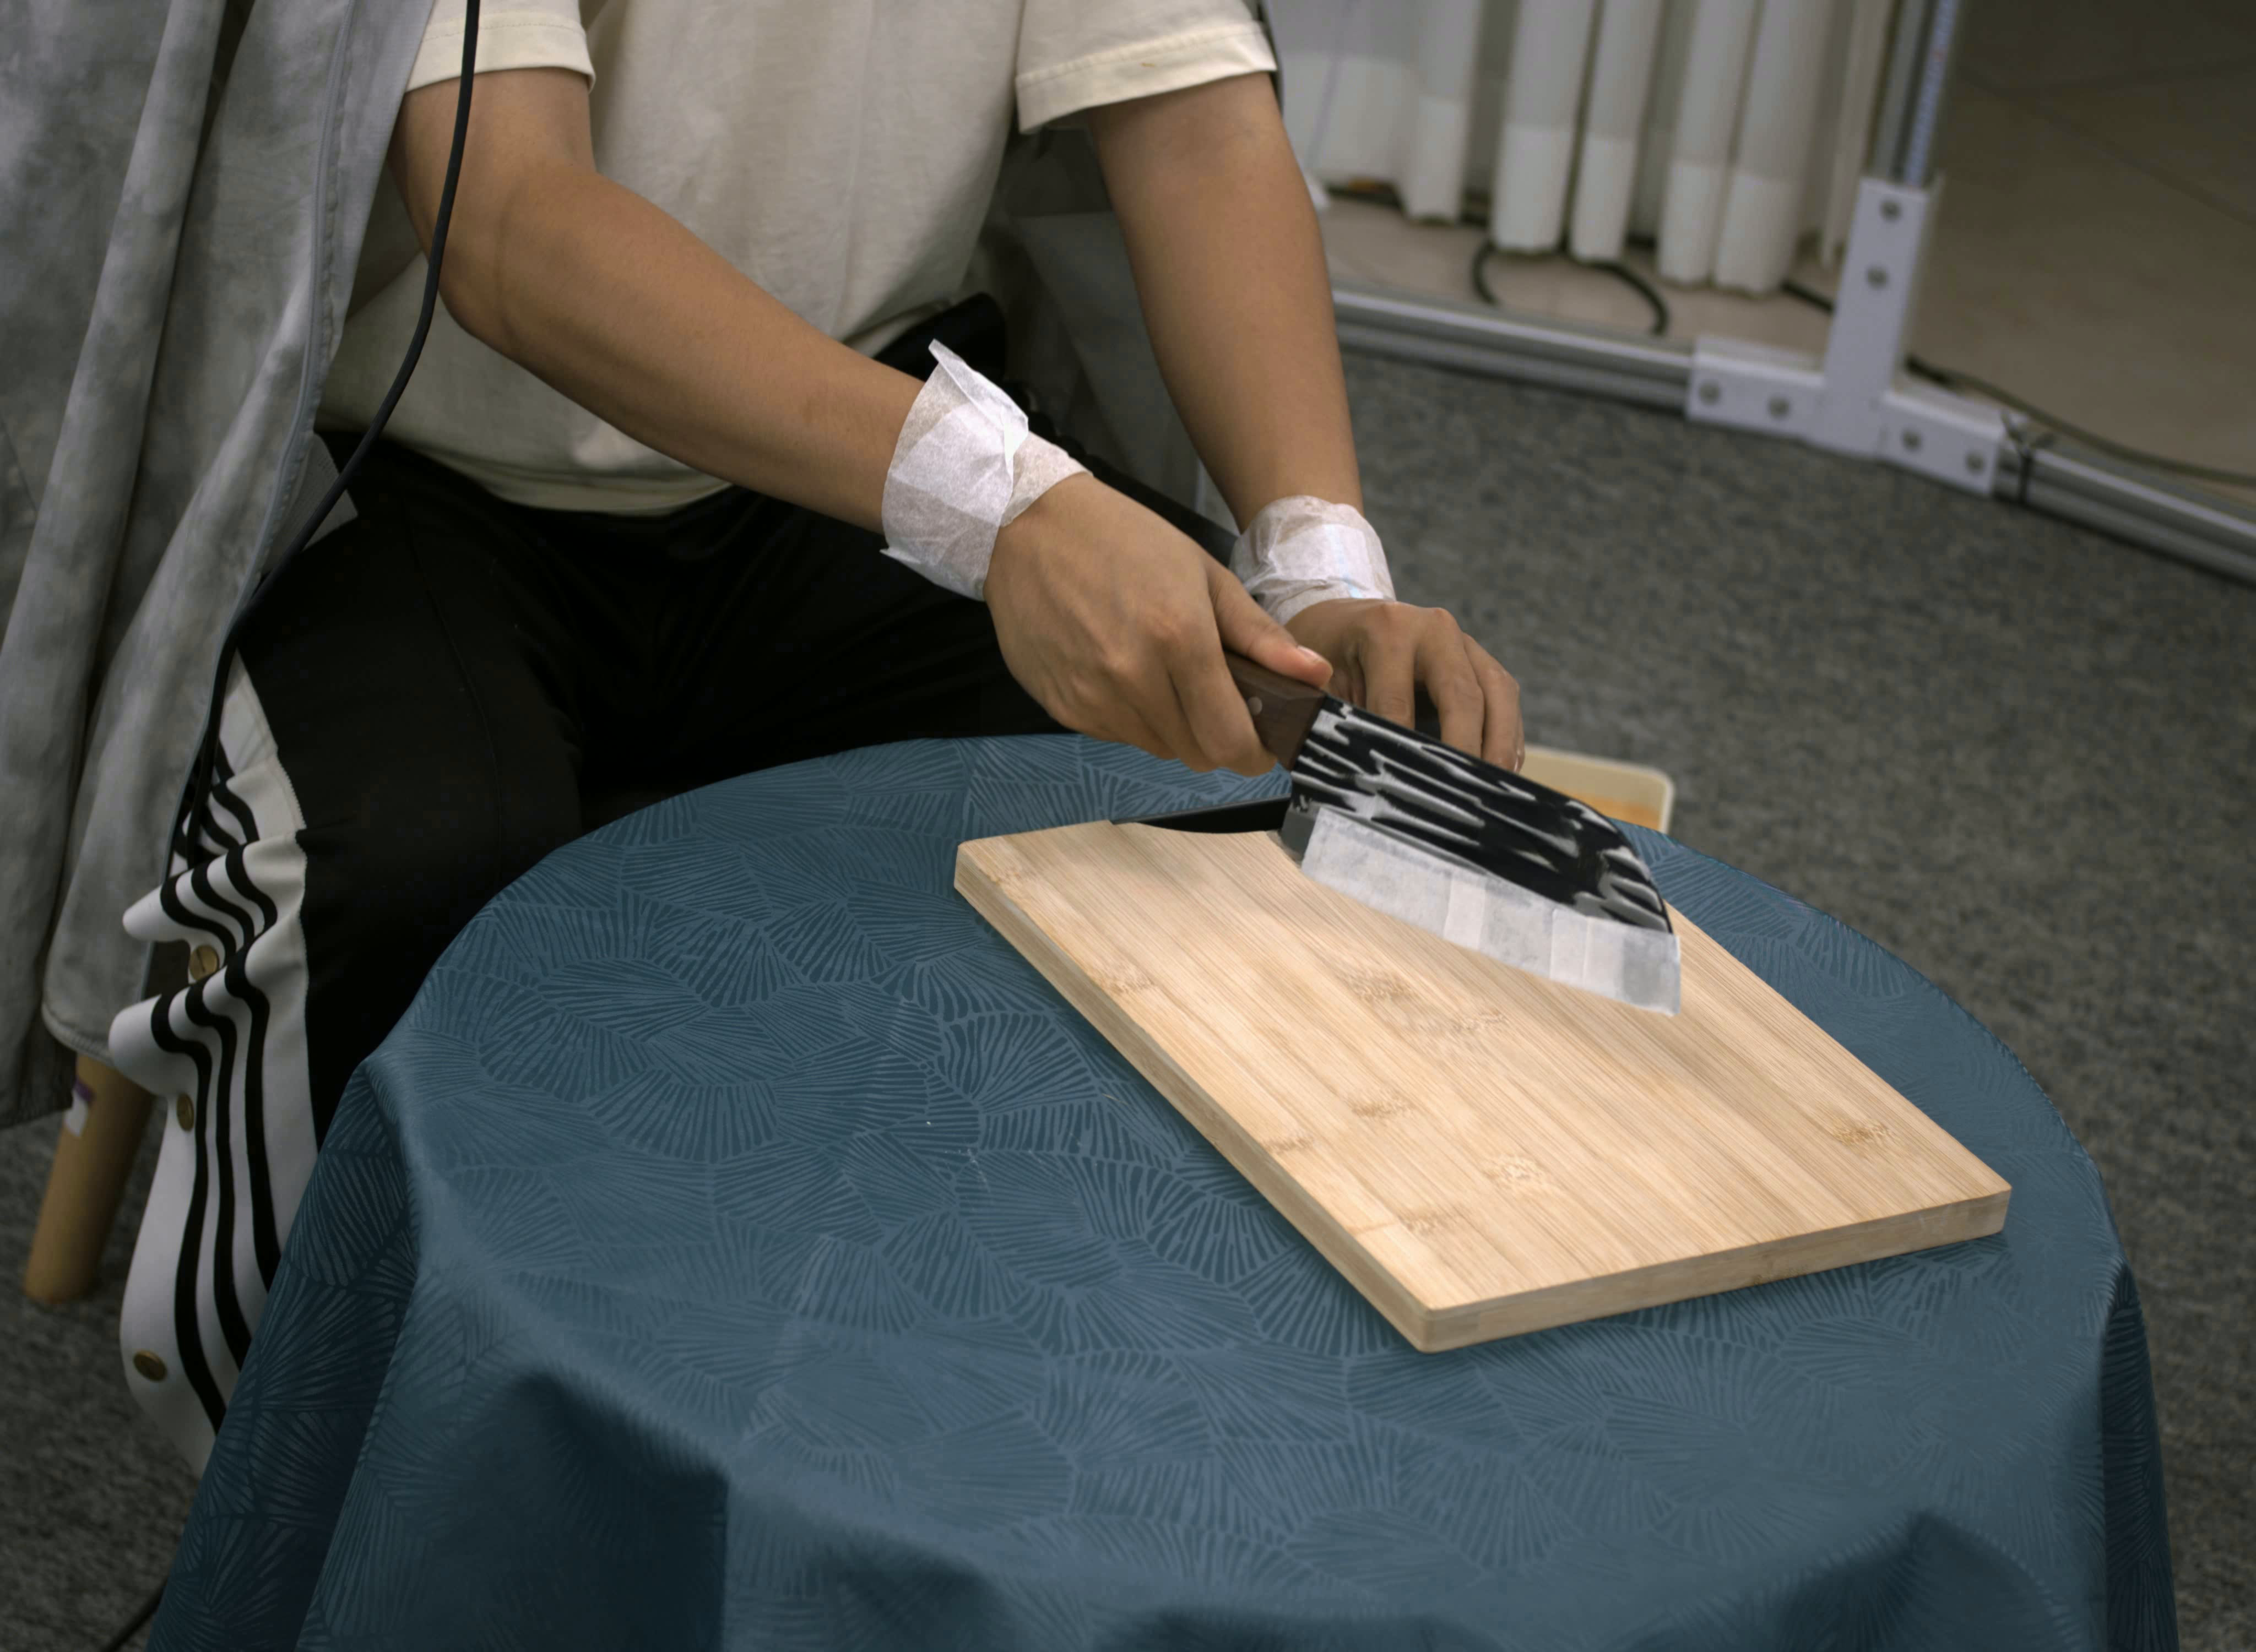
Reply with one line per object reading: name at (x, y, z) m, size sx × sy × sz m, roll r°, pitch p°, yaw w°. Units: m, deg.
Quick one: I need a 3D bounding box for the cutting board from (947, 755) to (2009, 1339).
cutting board at (0.118, 0.072, 1.916) m, size 0.249 × 0.023 × 0.352 m, roll -9°, pitch 31°, yaw -29°

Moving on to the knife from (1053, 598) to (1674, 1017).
knife at (0.082, -0.008, 1.930) m, size 0.301 × 0.068 × 0.024 m, roll 26°, pitch 16°, yaw 34°
